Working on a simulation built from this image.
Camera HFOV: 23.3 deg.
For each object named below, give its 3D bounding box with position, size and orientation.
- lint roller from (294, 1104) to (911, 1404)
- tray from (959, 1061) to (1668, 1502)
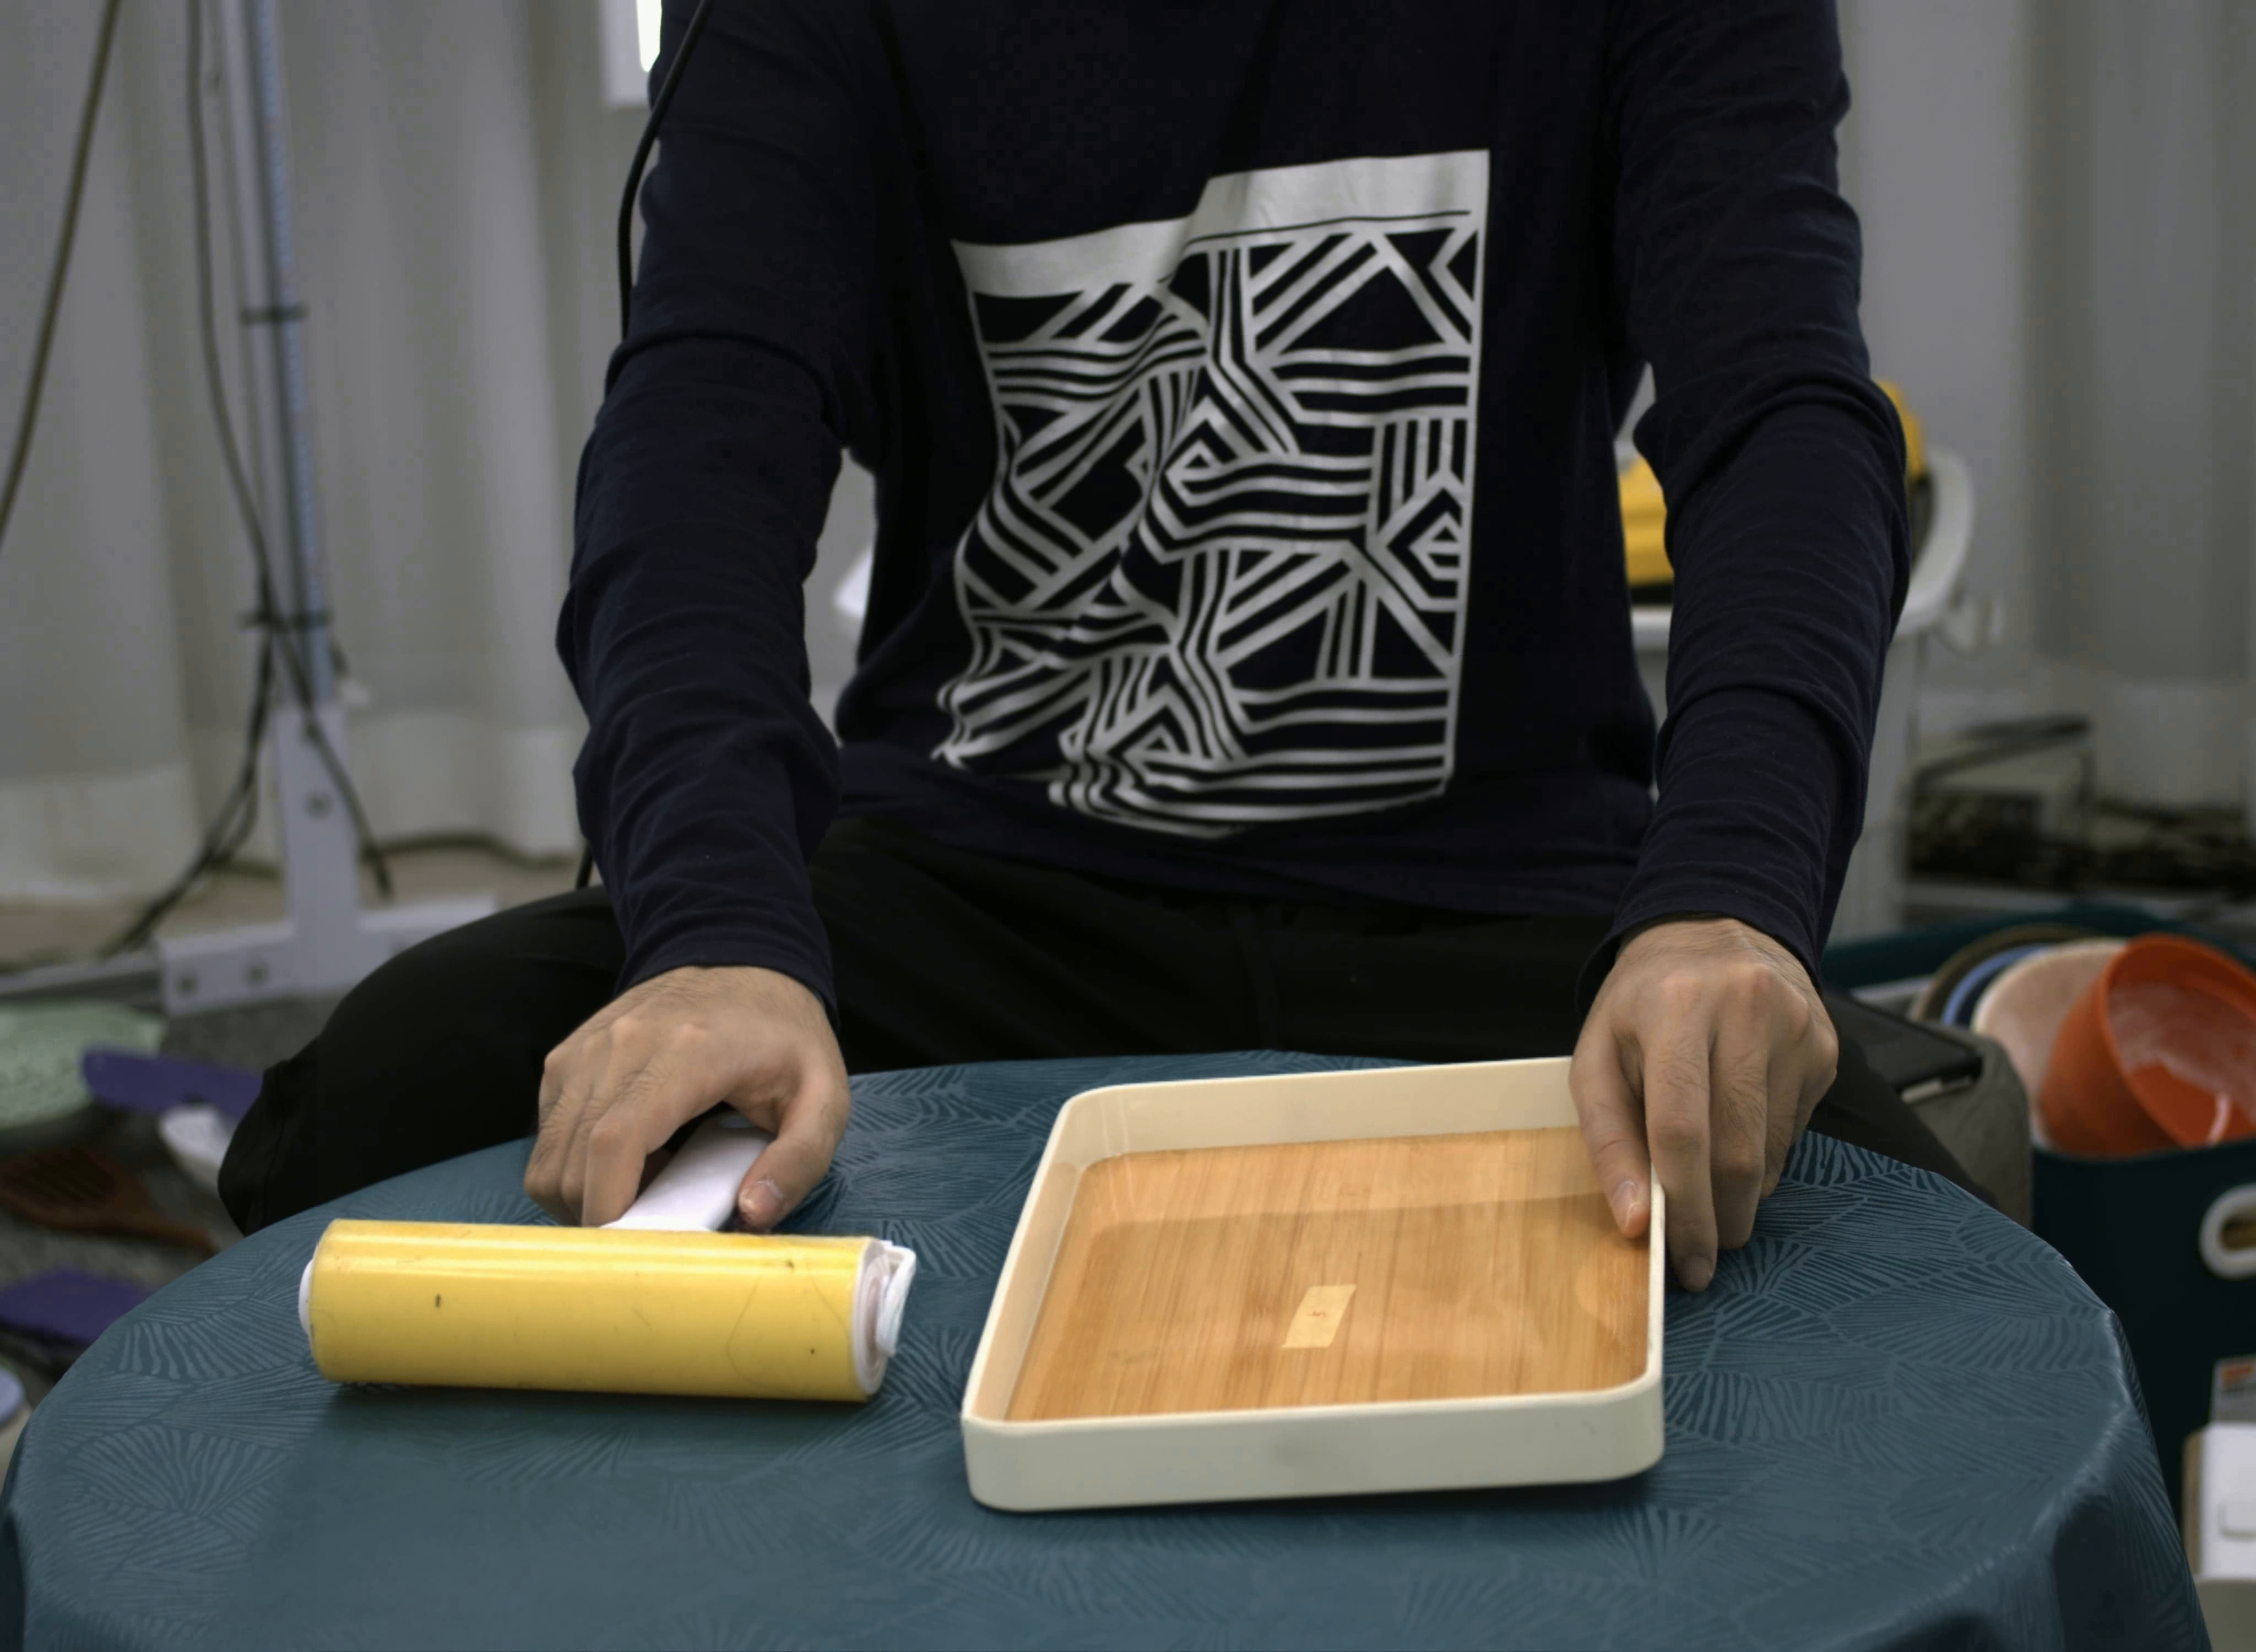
[{"bbox_3d":[-0.141,0.111,1.627,0.174,0.051,0.194,1,24,9],"label":"lint roller"},{"bbox_3d":[0.062,0.128,1.586,0.191,0.027,0.302,-3,14,7],"label":"tray"}]
